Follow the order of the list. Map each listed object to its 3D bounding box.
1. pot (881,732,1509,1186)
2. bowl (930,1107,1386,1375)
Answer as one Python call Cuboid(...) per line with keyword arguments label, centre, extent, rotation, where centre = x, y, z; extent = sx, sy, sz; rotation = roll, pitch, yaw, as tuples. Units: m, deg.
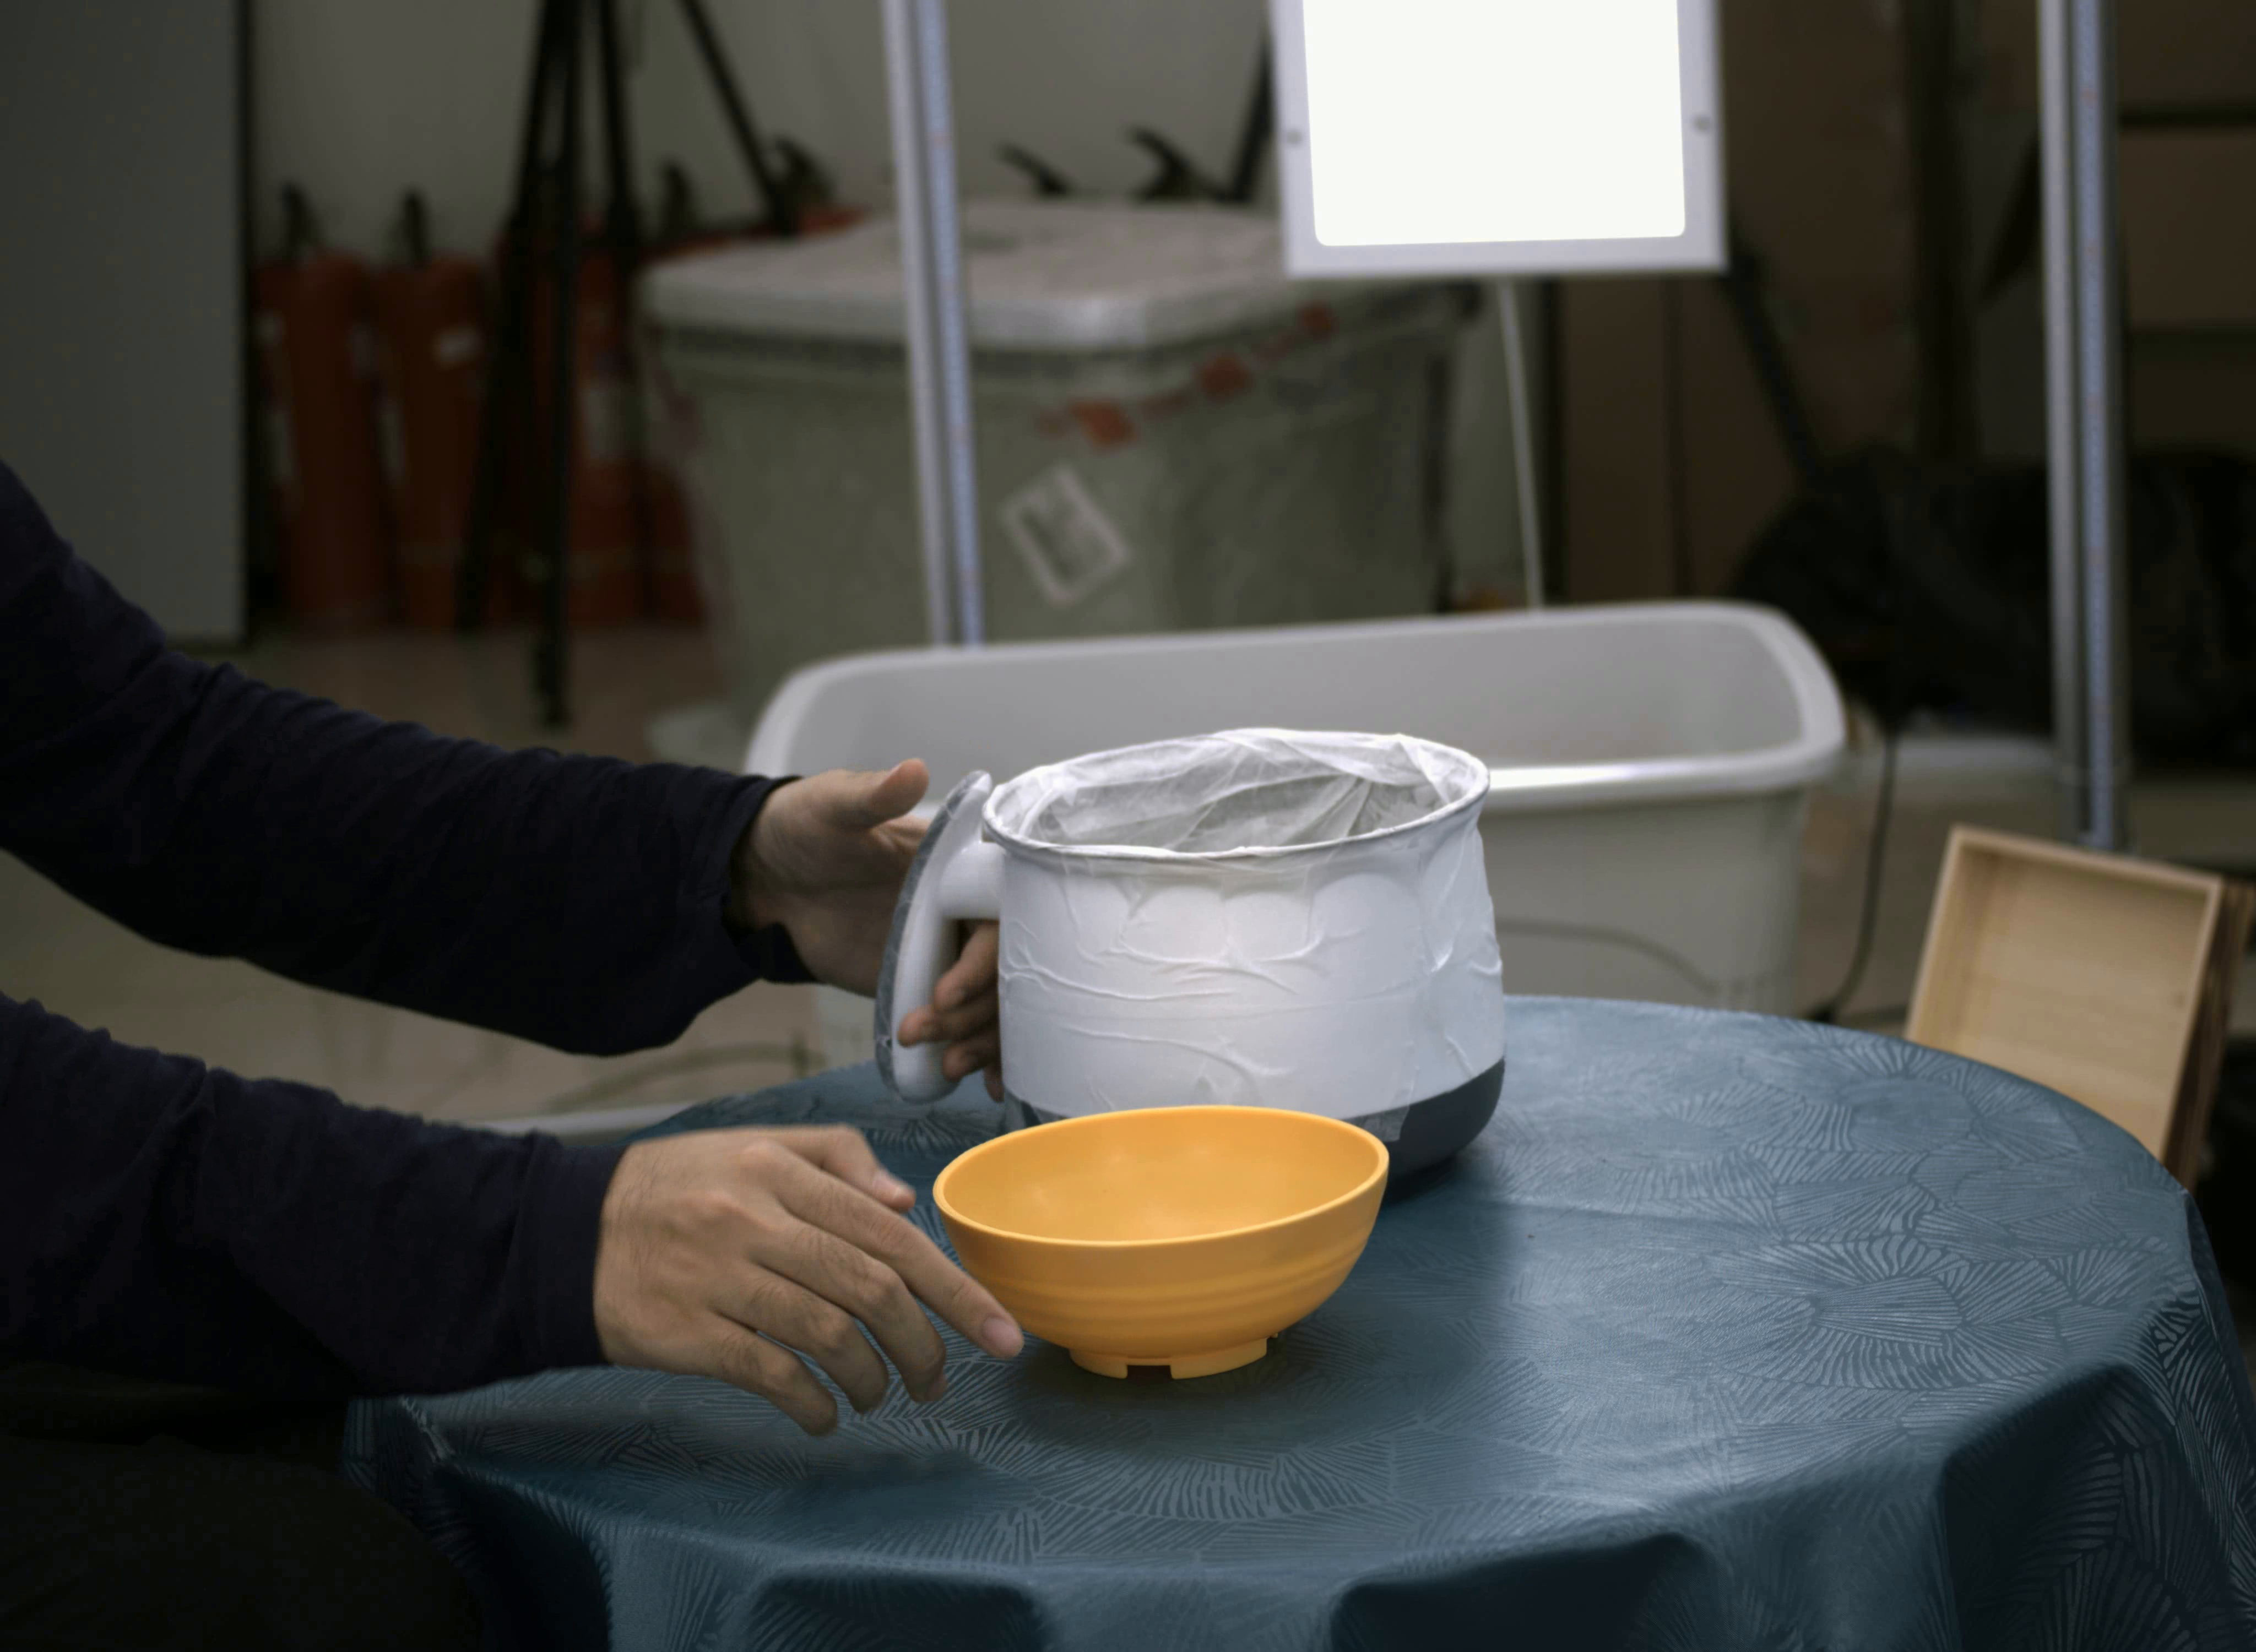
Cuboid(label="pot", centre=(0.017, 0.050, 1.930), extent=(0.237, 0.137, 0.175), rotation=(0, 14, 25))
Cuboid(label="bowl", centre=(0.011, 0.135, 1.734), extent=(0.145, 0.060, 0.145), rotation=(-3, 13, -1))
